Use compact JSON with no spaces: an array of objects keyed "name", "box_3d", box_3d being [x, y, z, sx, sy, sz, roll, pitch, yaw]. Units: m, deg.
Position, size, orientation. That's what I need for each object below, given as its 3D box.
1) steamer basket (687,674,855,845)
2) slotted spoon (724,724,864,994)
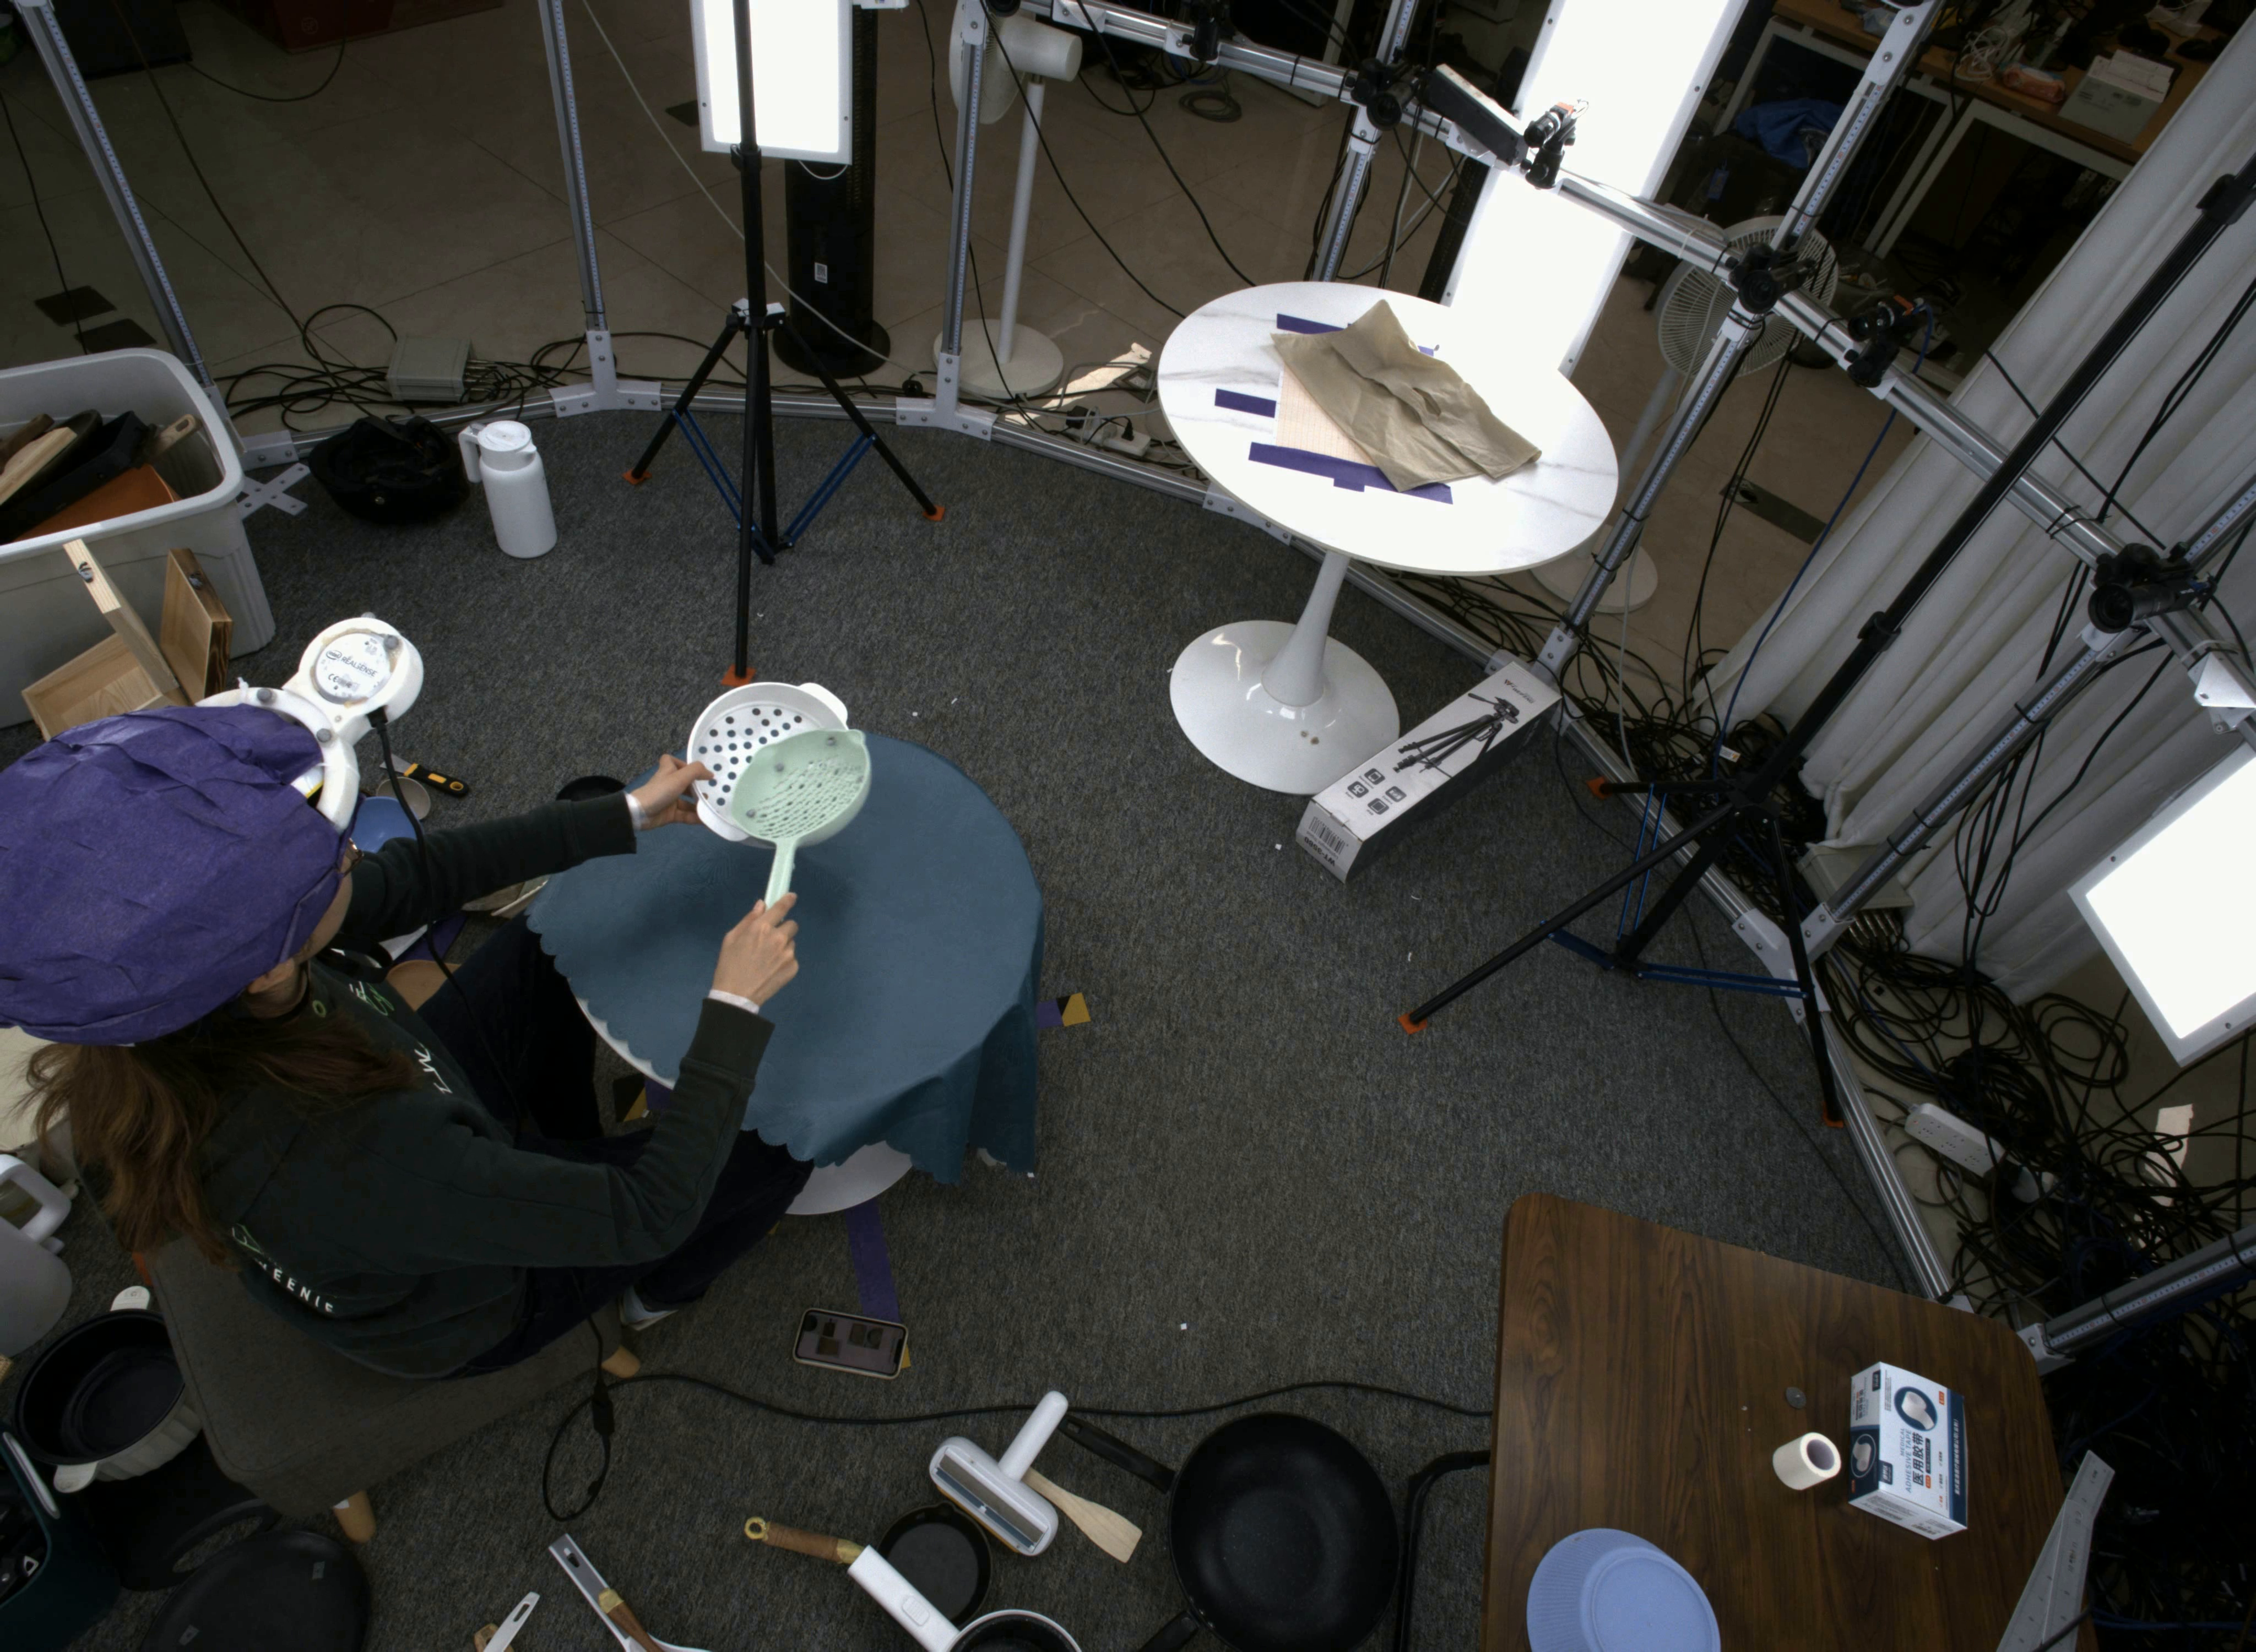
[{"name":"steamer basket","box_3d":[-0.435,-0.078,1.577,0.204,0.069,0.230,37,64,-9]},{"name":"slotted spoon","box_3d":[-0.376,0.024,1.412,0.166,0.078,0.351,-10,39,11]}]
